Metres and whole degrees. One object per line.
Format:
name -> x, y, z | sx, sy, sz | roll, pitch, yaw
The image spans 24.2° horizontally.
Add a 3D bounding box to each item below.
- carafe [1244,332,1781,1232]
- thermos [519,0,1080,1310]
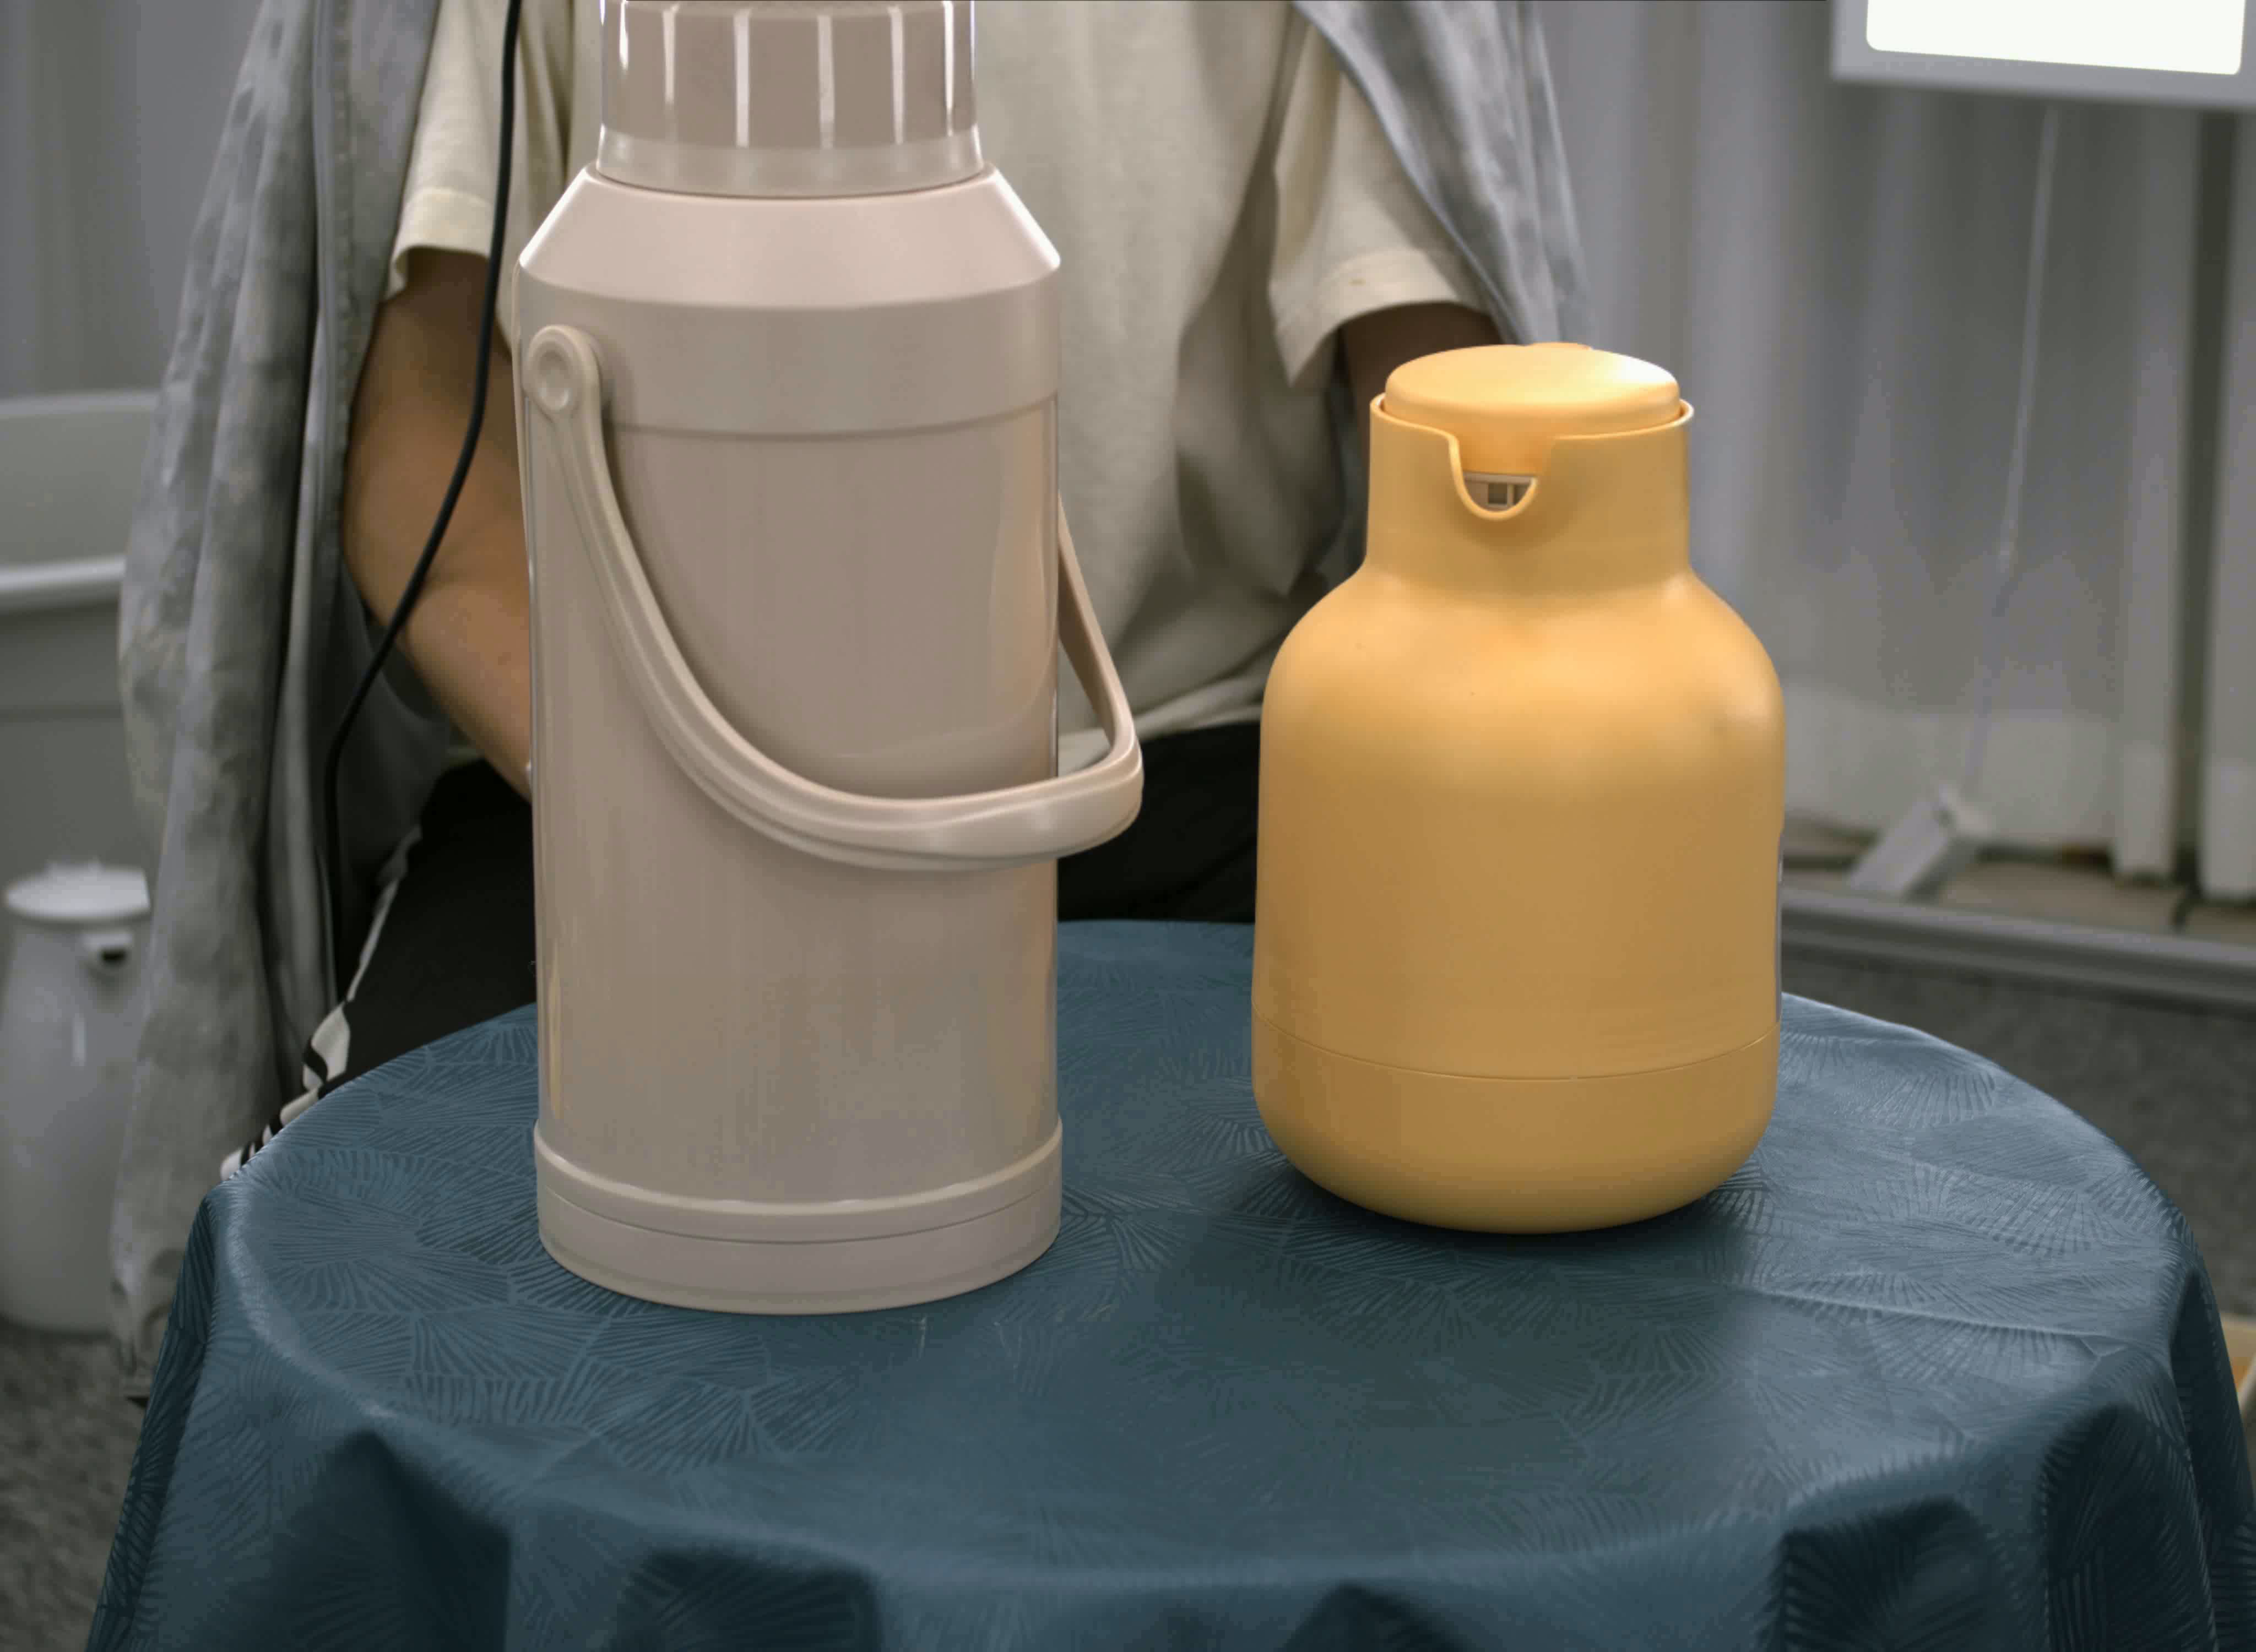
carafe -> 0.124, -0.022, 1.623 | 0.162, 0.262, 0.202 | 6, 18, 12
thermos -> -0.107, -0.074, 1.548 | 0.176, 0.410, 0.204 | -16, 23, -41
